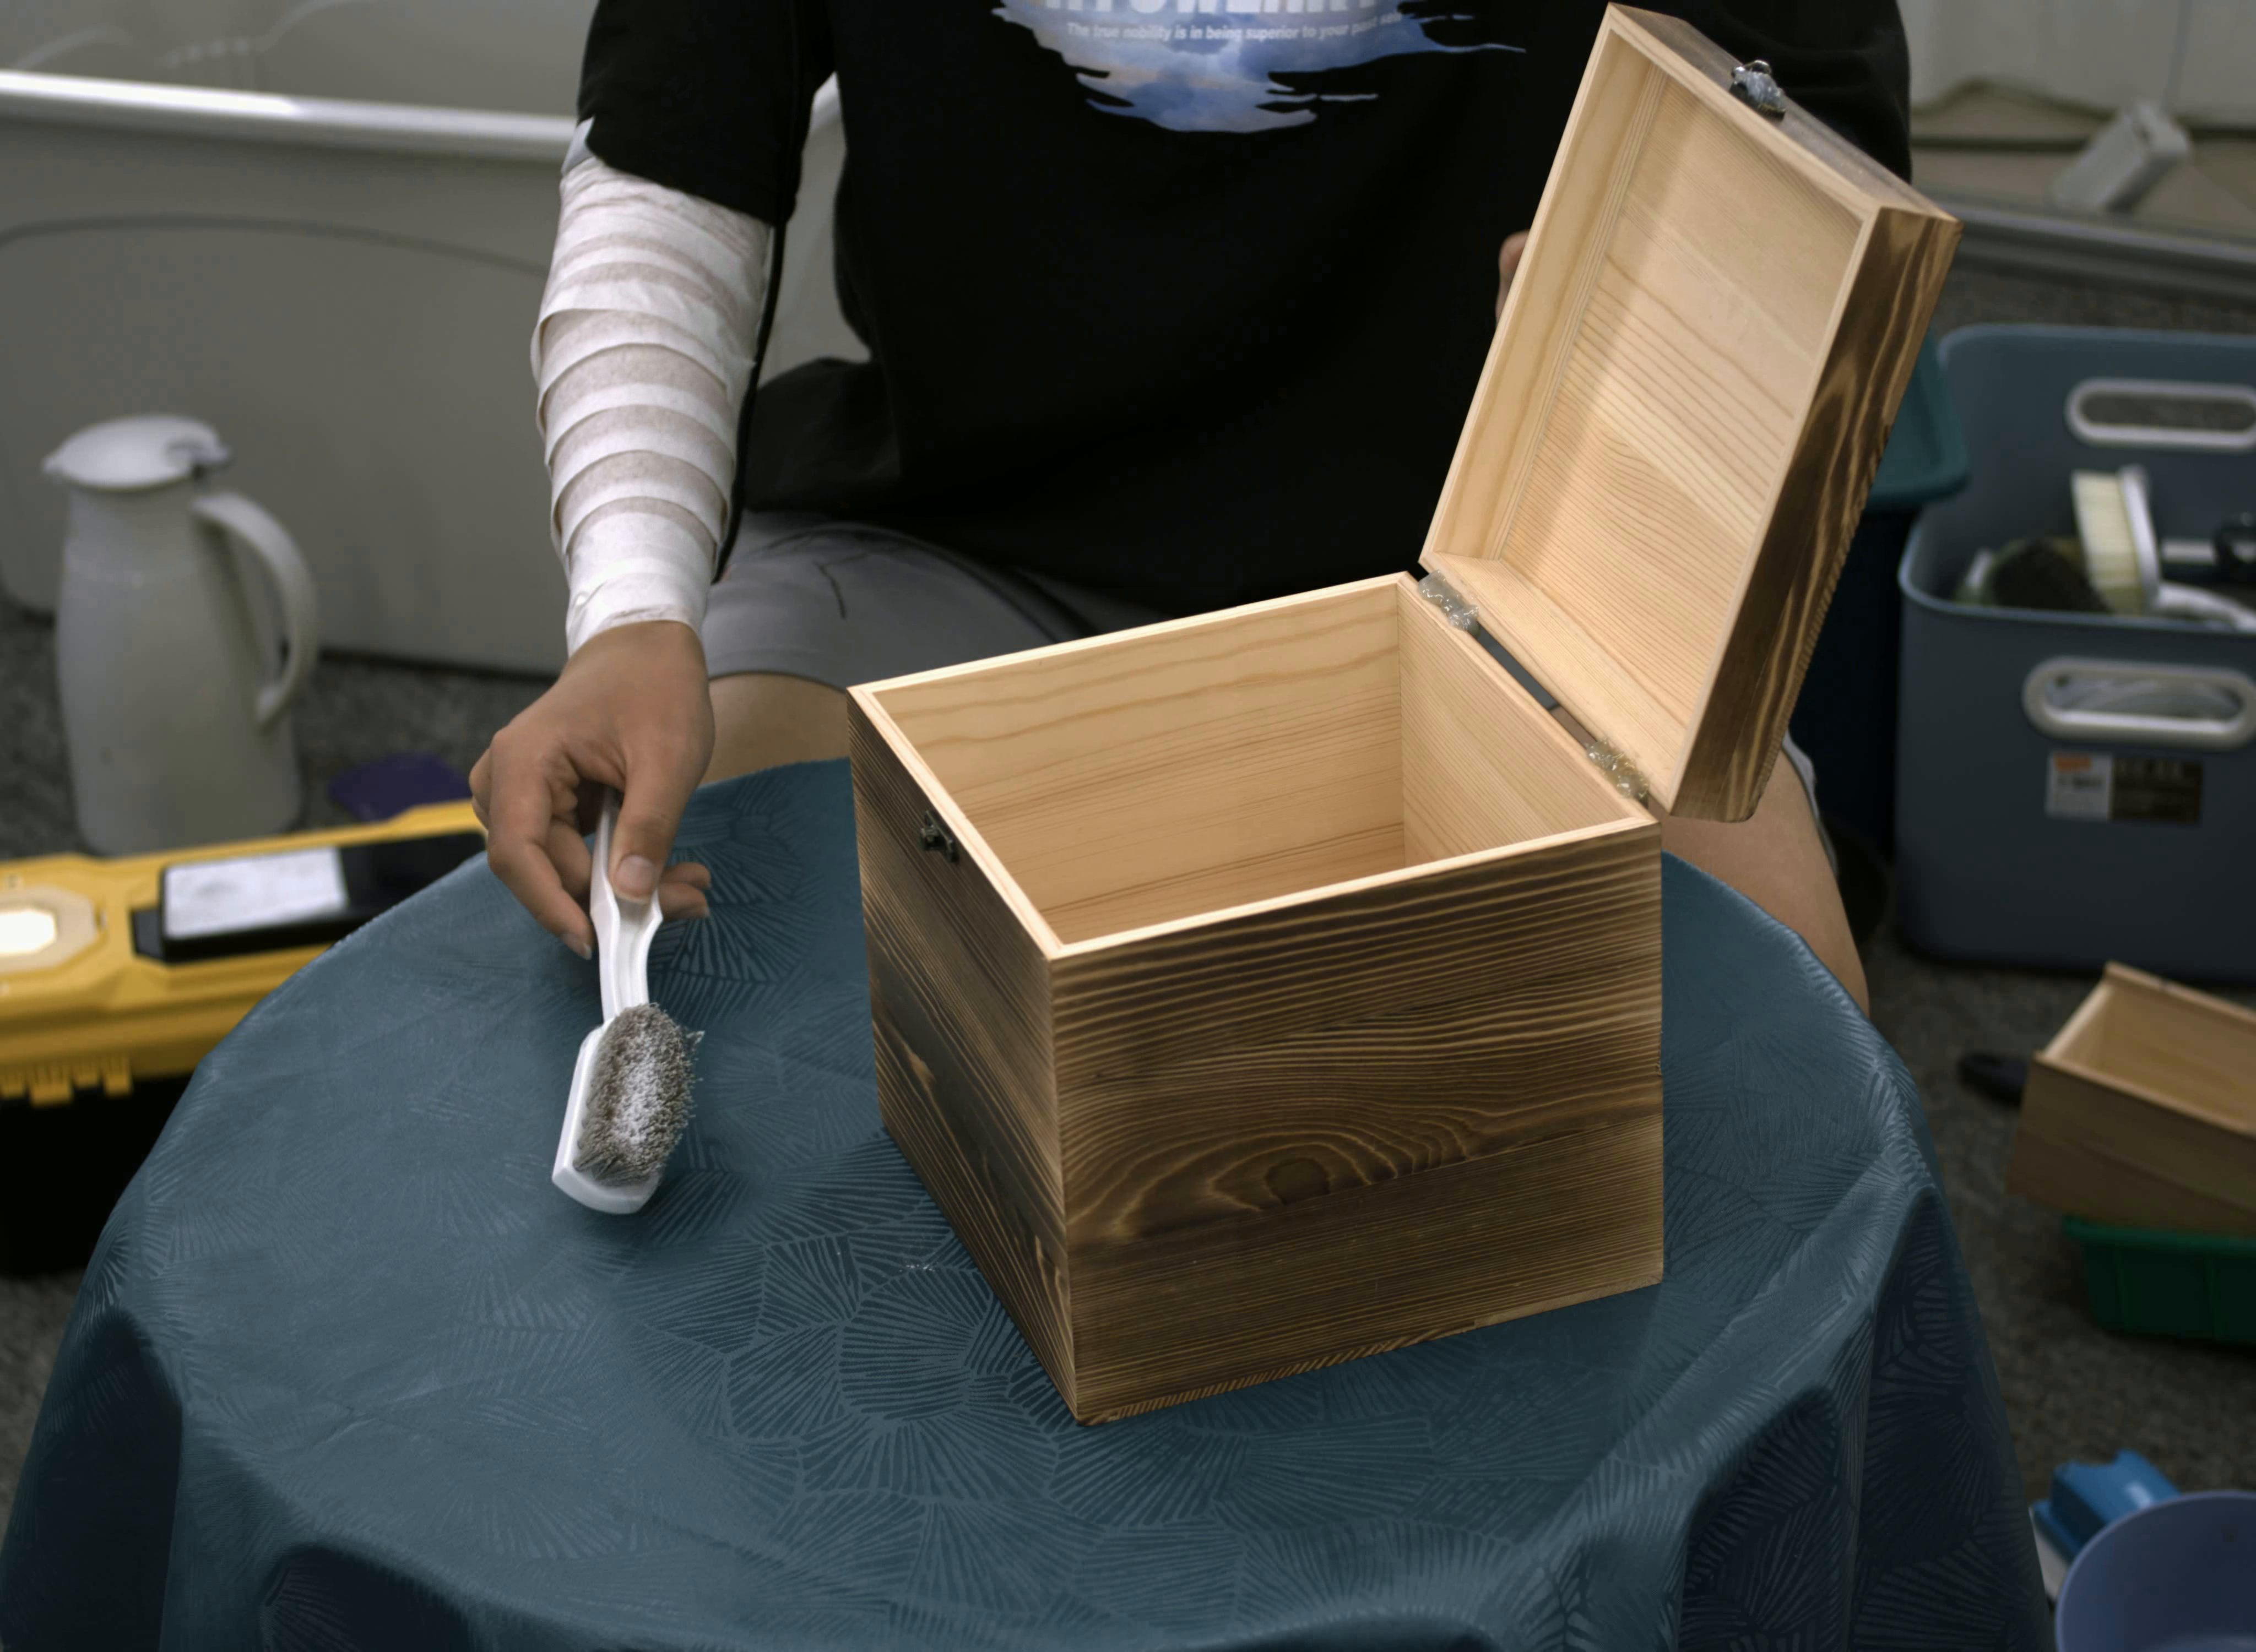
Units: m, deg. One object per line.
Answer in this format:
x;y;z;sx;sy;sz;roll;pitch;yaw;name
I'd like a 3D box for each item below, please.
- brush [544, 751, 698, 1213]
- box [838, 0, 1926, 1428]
-0.166;0.041;1.933;0.034;0.049;0.248;27;34;-18;brush
0.081;-0.048;1.792;0.323;0.372;0.210;-12;26;-17;box
